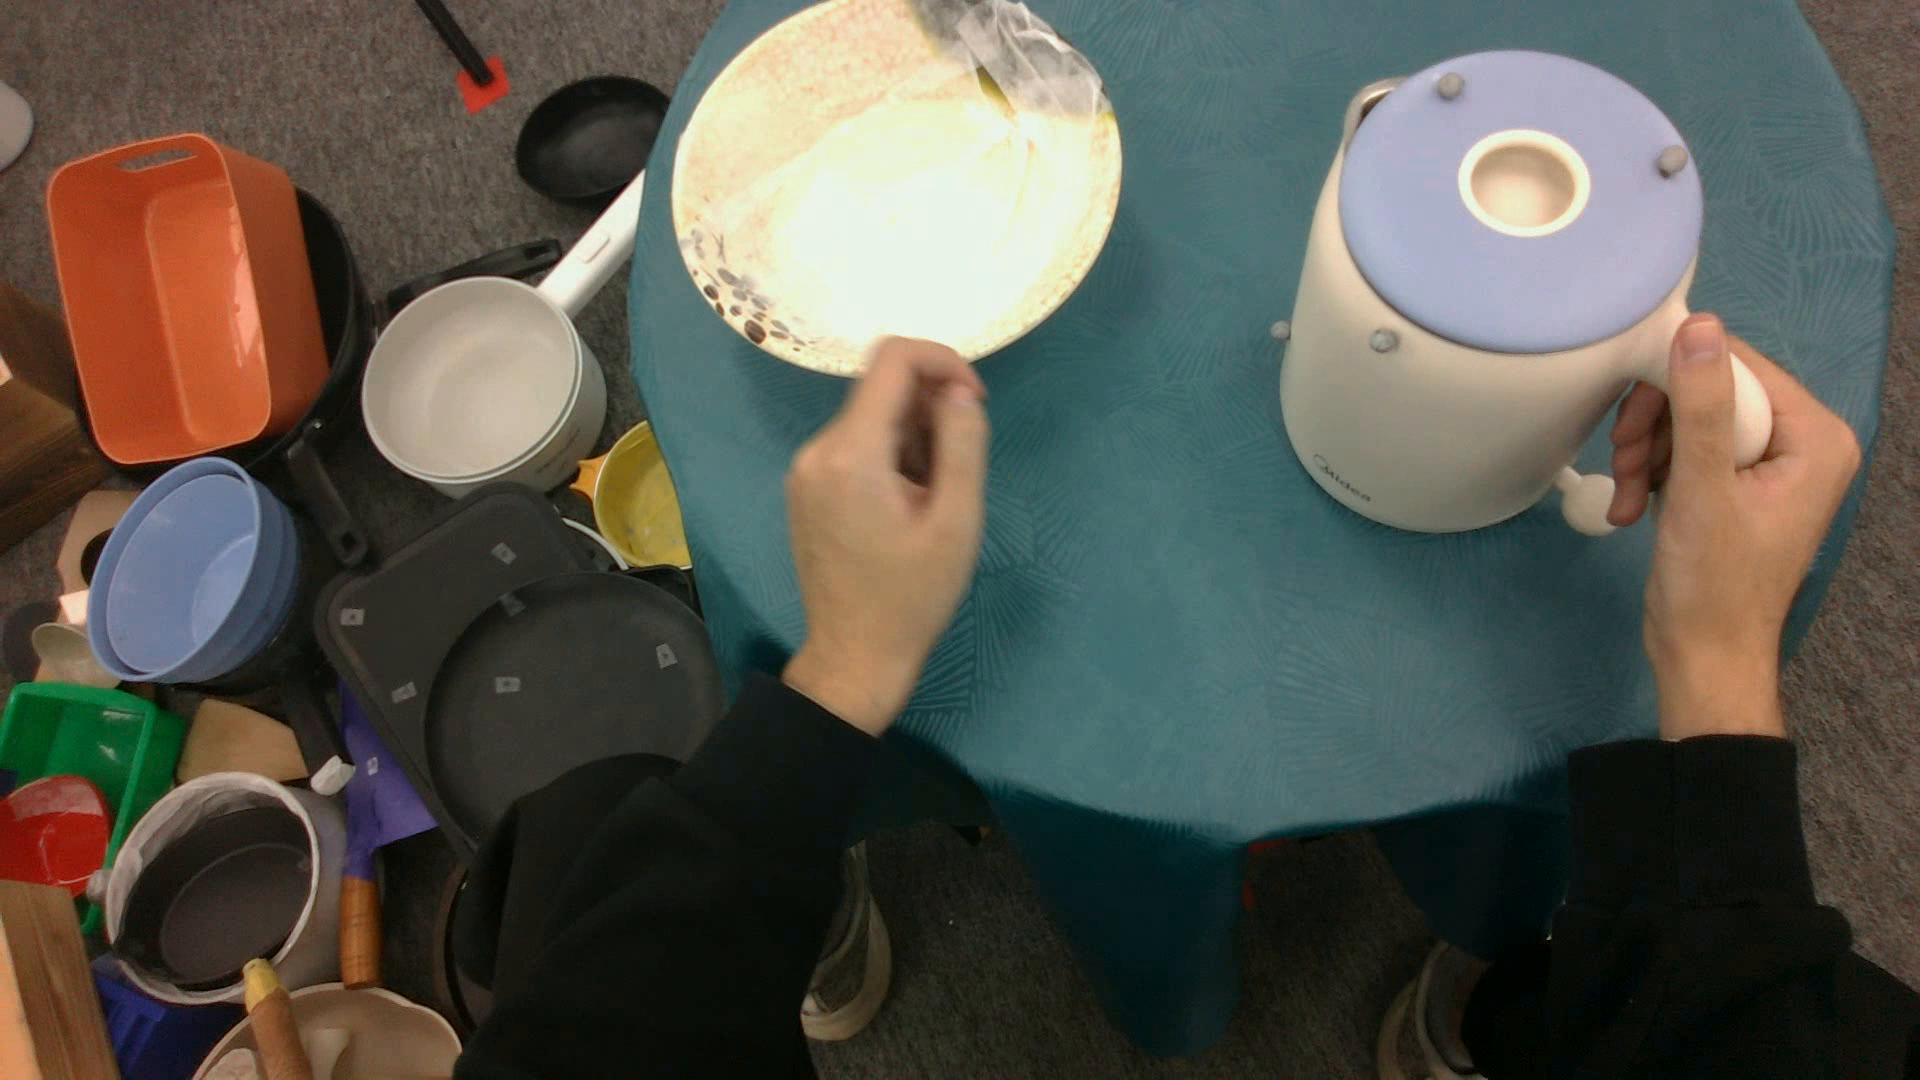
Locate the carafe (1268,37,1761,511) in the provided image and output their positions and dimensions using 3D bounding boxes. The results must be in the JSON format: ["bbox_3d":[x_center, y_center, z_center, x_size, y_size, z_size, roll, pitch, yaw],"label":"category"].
[{"bbox_3d":[0.215,-0.082,0.545,0.191,0.182,0.132,41,81,15],"label":"carafe"}]

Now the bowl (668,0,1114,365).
[{"bbox_3d":[-0.028,-0.162,0.651,0.204,0.078,0.204,-2,73,7],"label":"bowl"}]
